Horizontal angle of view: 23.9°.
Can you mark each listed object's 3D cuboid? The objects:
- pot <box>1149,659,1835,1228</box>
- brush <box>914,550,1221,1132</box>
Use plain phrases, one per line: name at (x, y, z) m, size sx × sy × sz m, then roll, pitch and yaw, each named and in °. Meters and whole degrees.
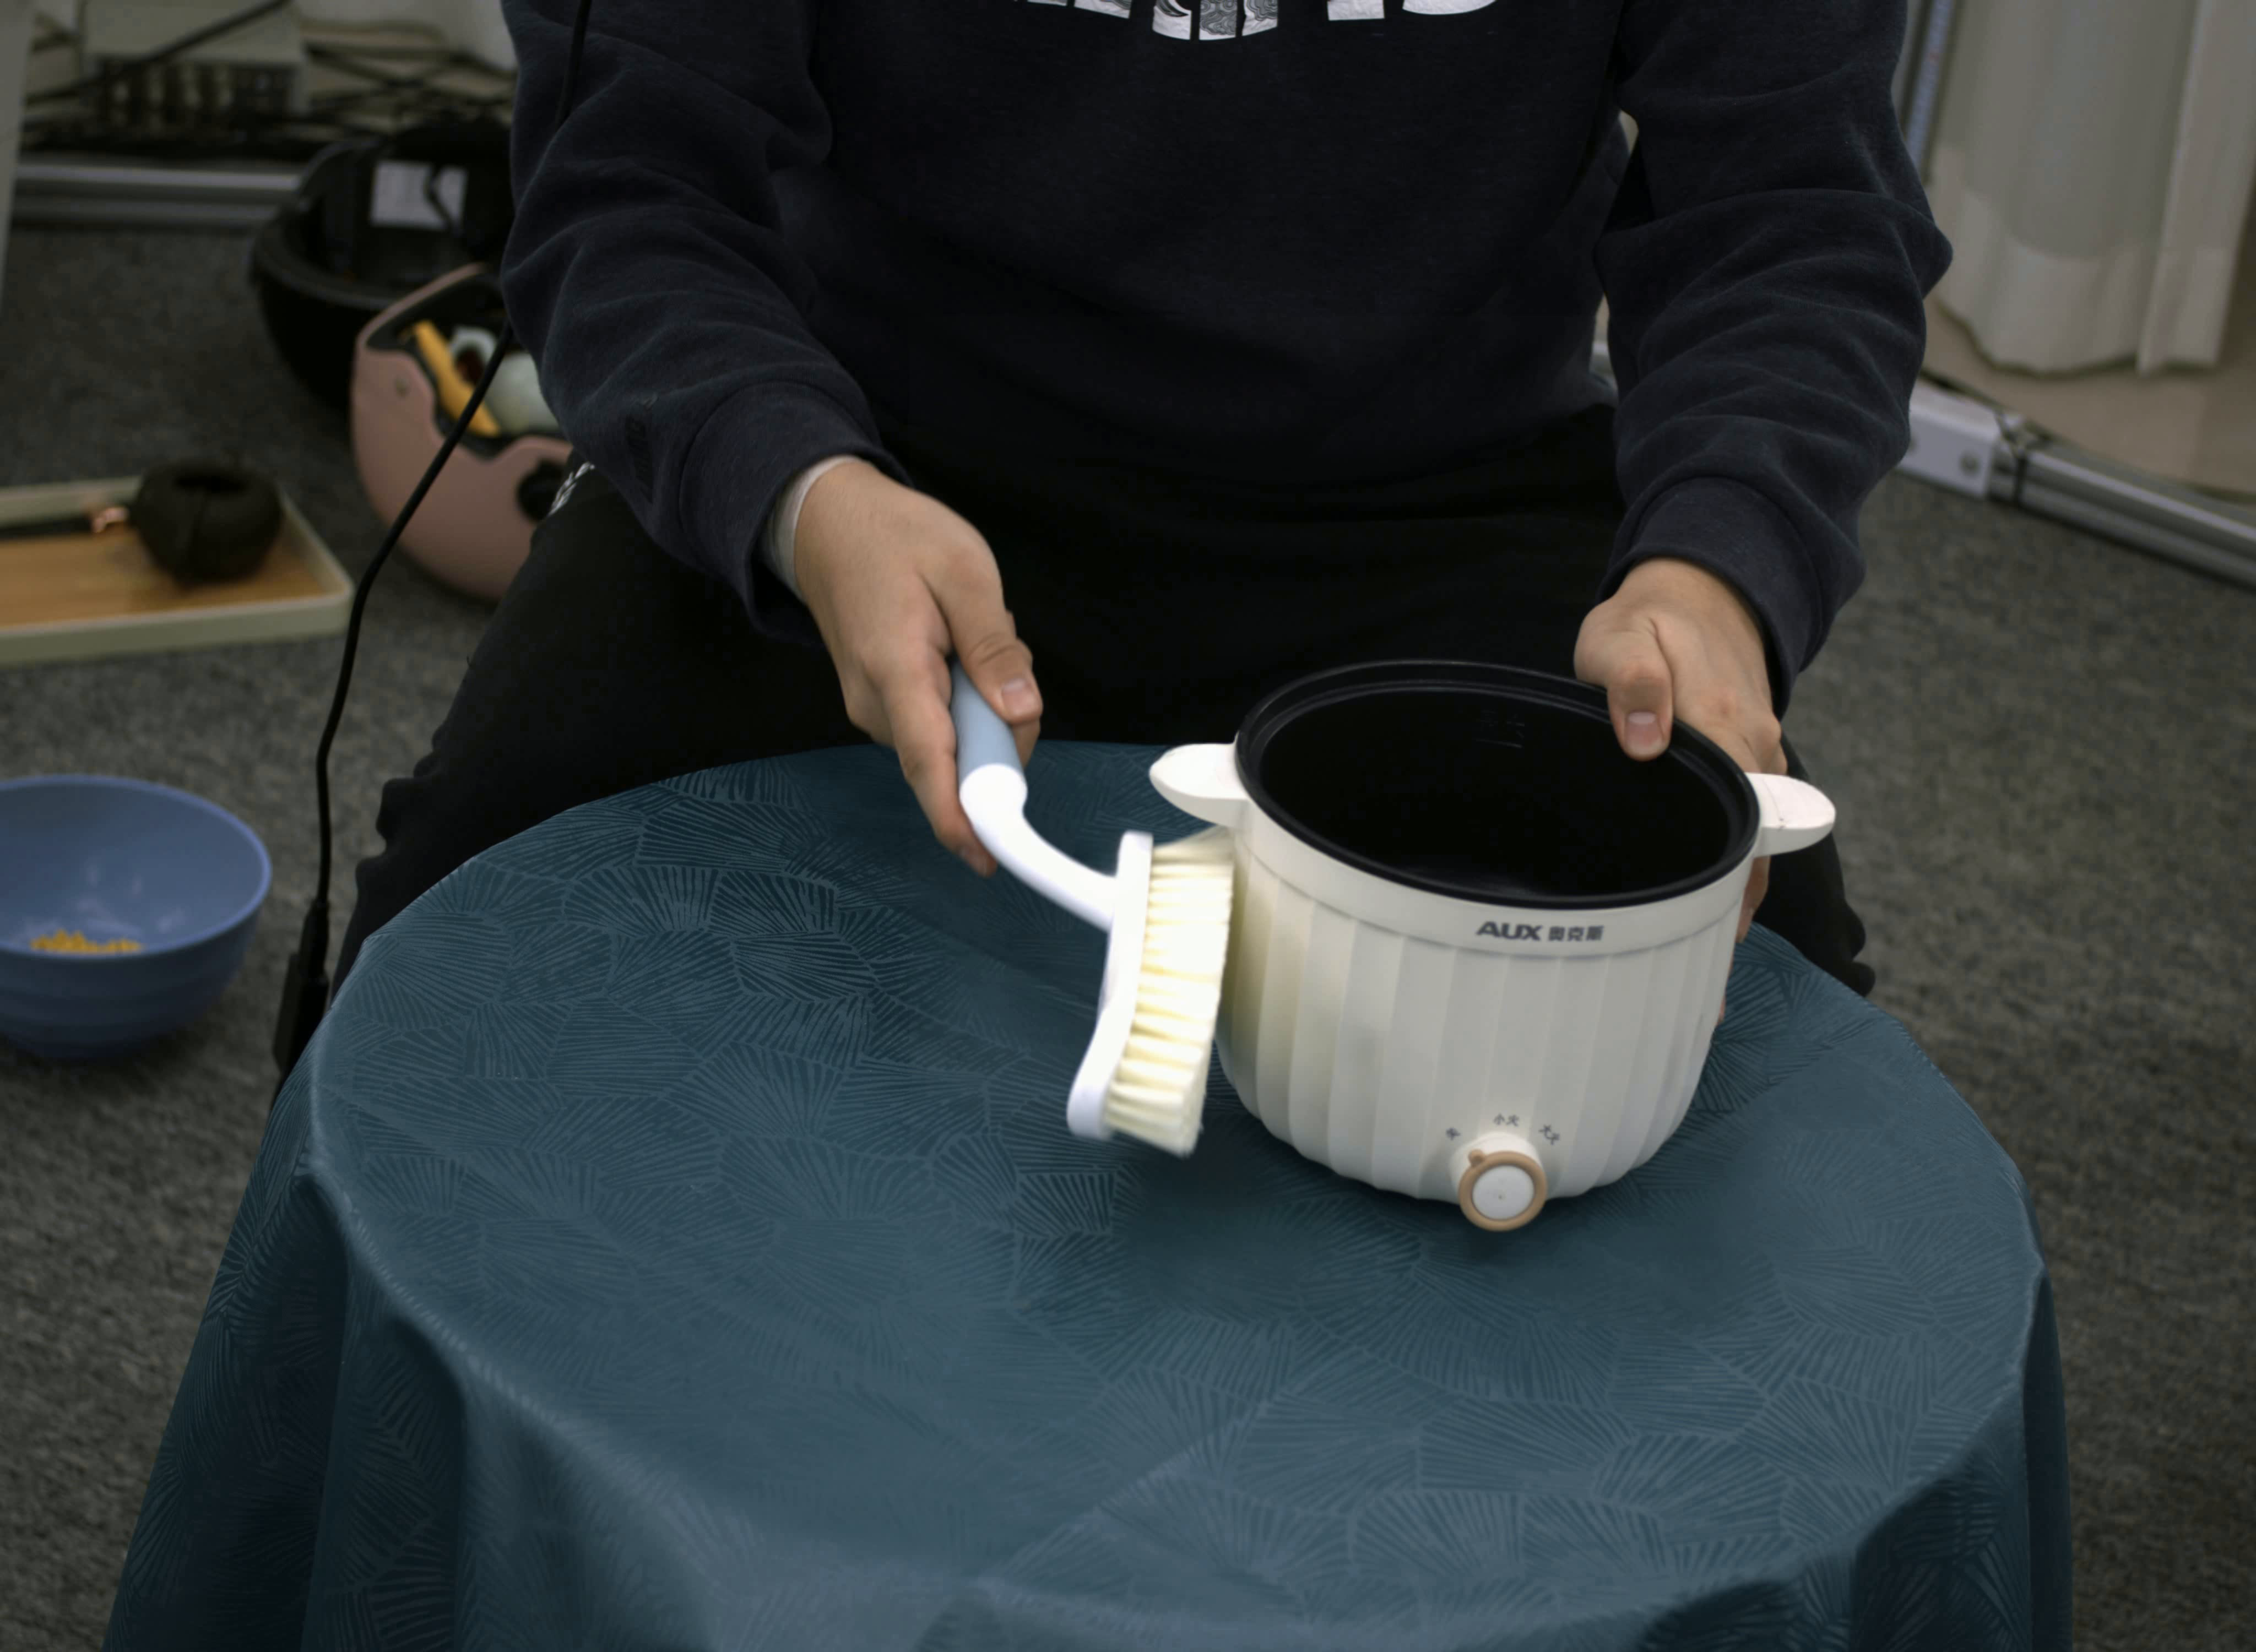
pot at (0.120, 0.043, 1.840) m, size 0.239 × 0.142 × 0.192 m, roll 2°, pitch 24°, yaw -8°
brush at (-0.007, -0.006, 1.869) m, size 0.084 × 0.083 × 0.328 m, roll 35°, pitch 23°, yaw -29°
